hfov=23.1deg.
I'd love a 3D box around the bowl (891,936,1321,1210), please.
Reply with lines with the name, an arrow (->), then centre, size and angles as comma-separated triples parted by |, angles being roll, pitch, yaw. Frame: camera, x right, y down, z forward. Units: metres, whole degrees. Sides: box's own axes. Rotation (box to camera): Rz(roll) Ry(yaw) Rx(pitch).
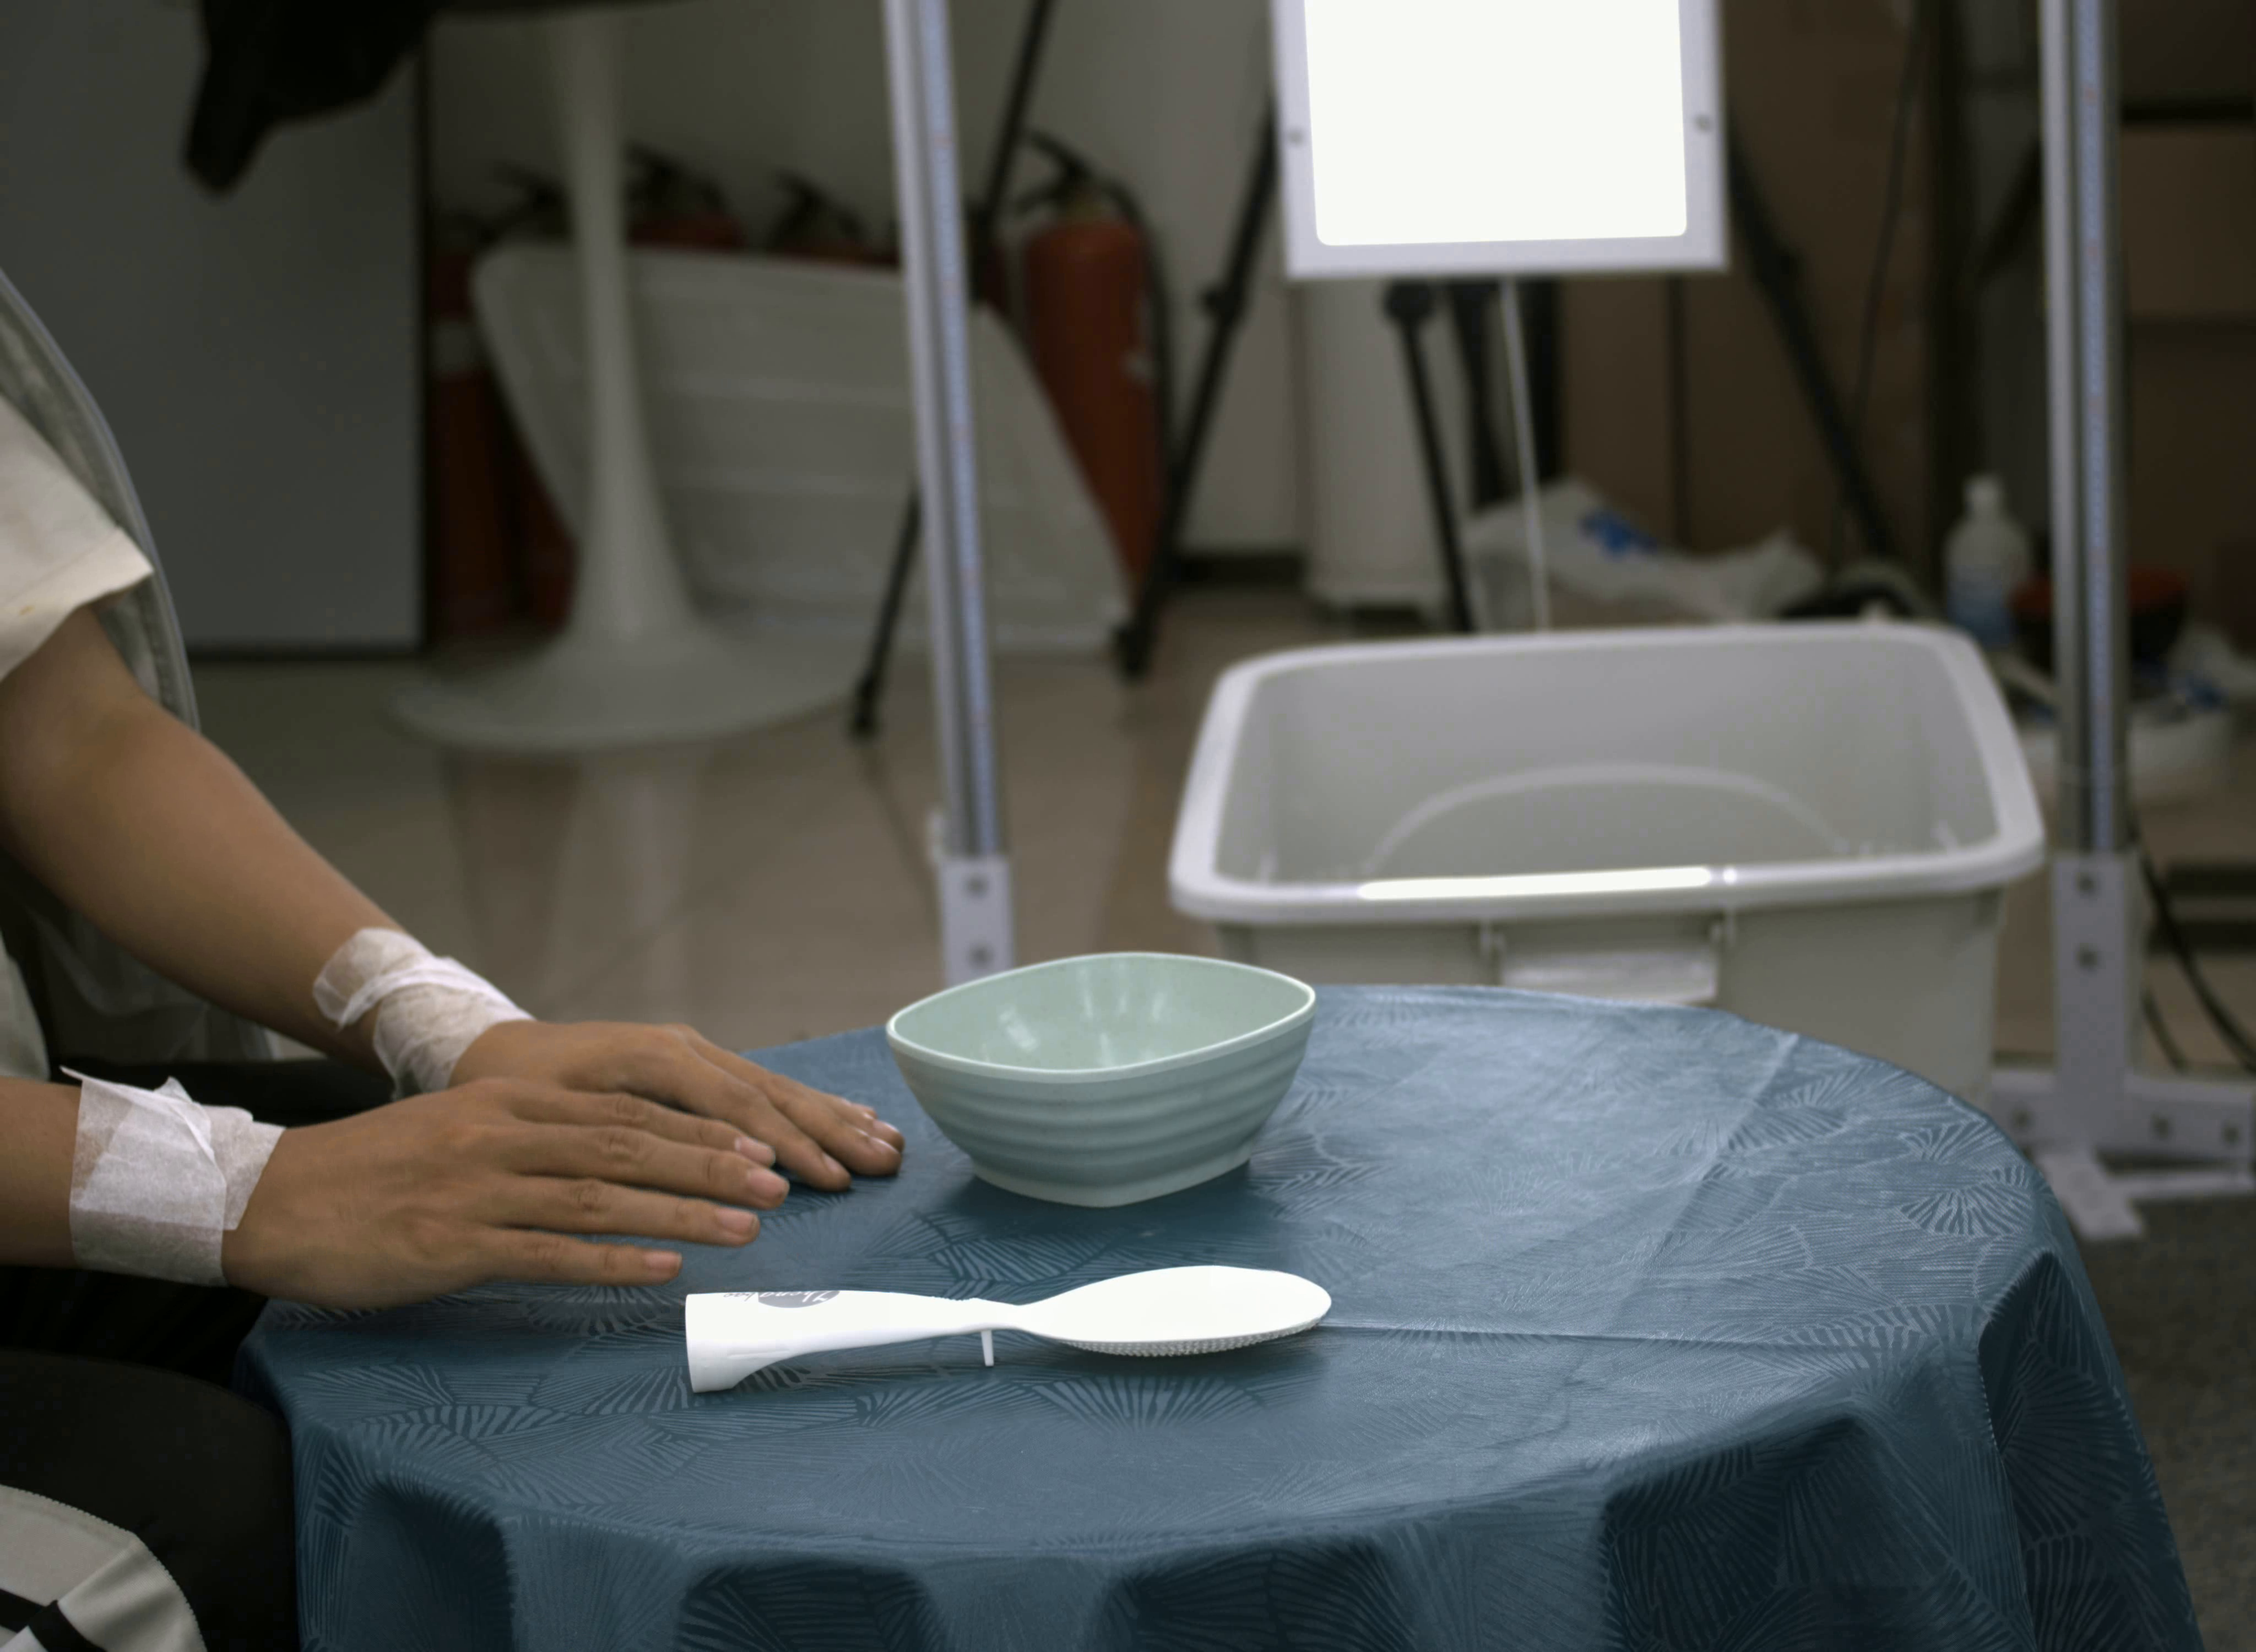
bowl -> -0.006, 0.090, 1.923 | 0.151, 0.059, 0.151 | -5, 17, 0

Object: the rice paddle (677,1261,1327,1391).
rice paddle -> -0.039, 0.154, 1.734 | 0.205, 0.029, 0.068 | -5, 15, 2
